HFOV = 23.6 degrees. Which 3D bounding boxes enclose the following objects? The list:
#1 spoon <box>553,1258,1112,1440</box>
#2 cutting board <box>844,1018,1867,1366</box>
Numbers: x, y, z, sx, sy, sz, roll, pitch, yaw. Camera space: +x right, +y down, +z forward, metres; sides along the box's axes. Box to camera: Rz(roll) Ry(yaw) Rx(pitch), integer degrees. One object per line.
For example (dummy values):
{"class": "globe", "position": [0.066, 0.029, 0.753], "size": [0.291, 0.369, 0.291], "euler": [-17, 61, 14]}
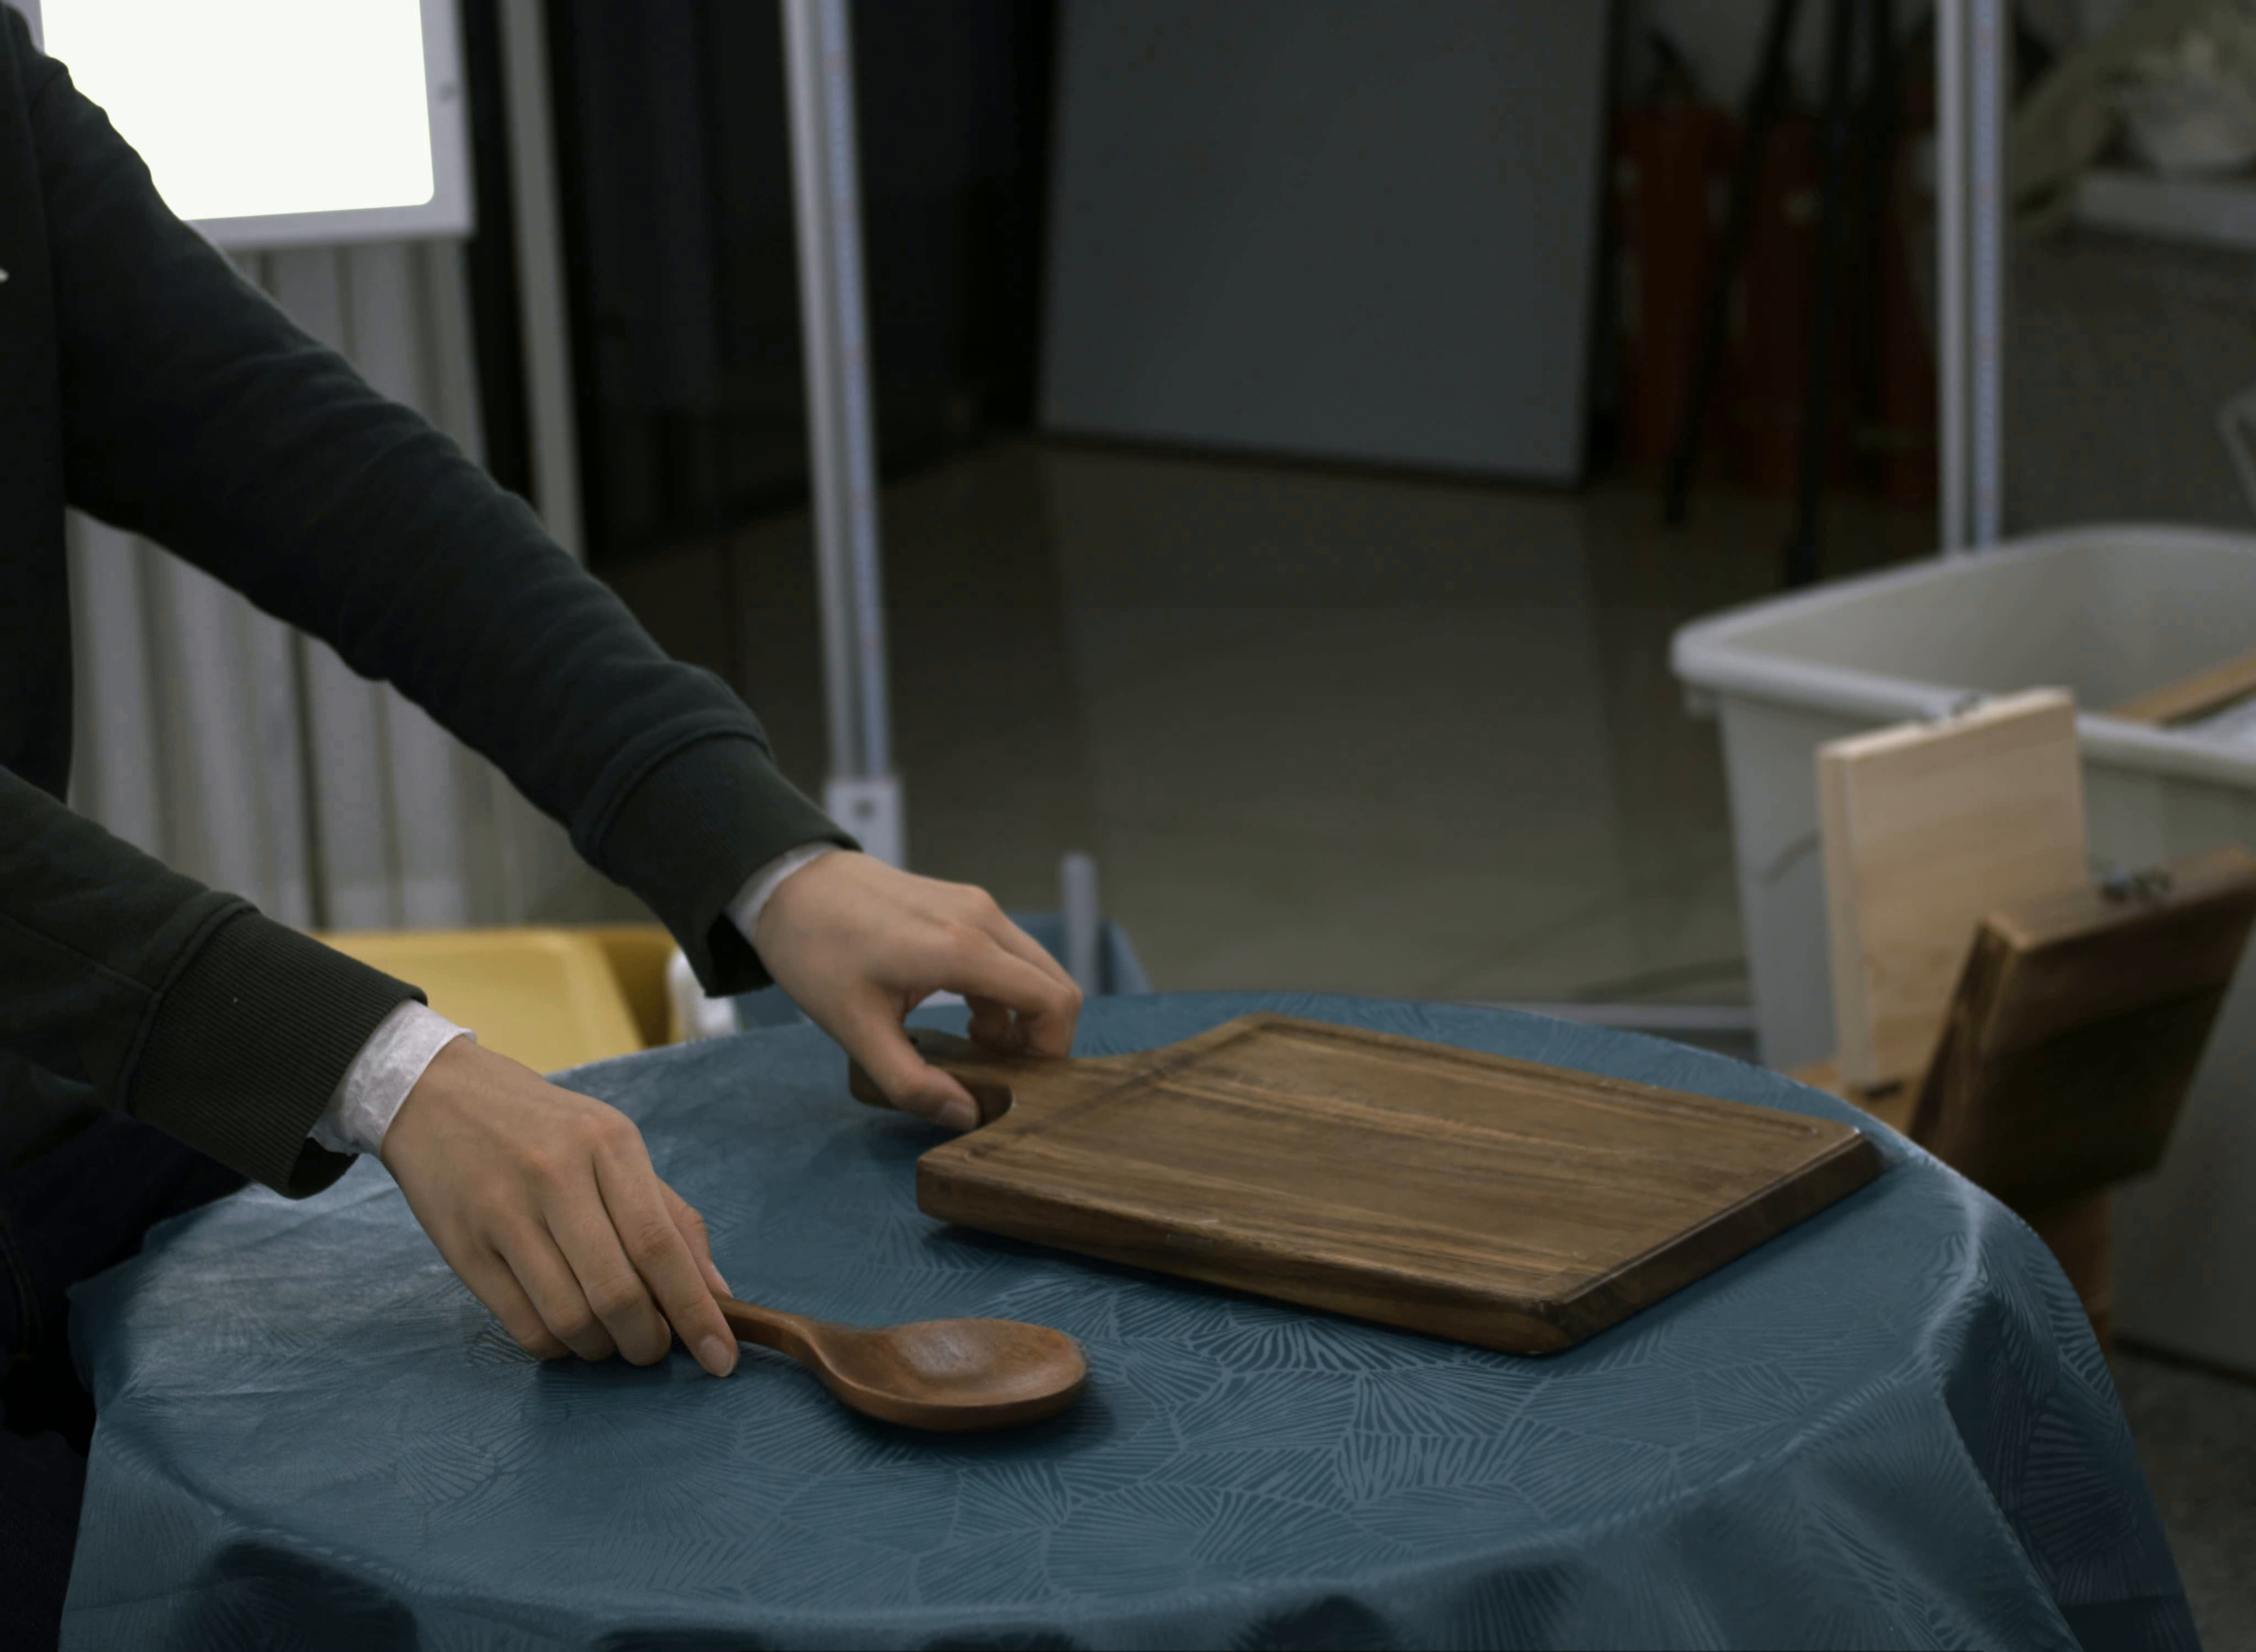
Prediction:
{"class": "spoon", "position": [-0.094, 0.156, 1.621], "size": [0.217, 0.017, 0.074], "euler": [9, 21, 41]}
{"class": "cutting board", "position": [0.047, 0.107, 1.762], "size": [0.355, 0.023, 0.197], "euler": [9, 20, 38]}
